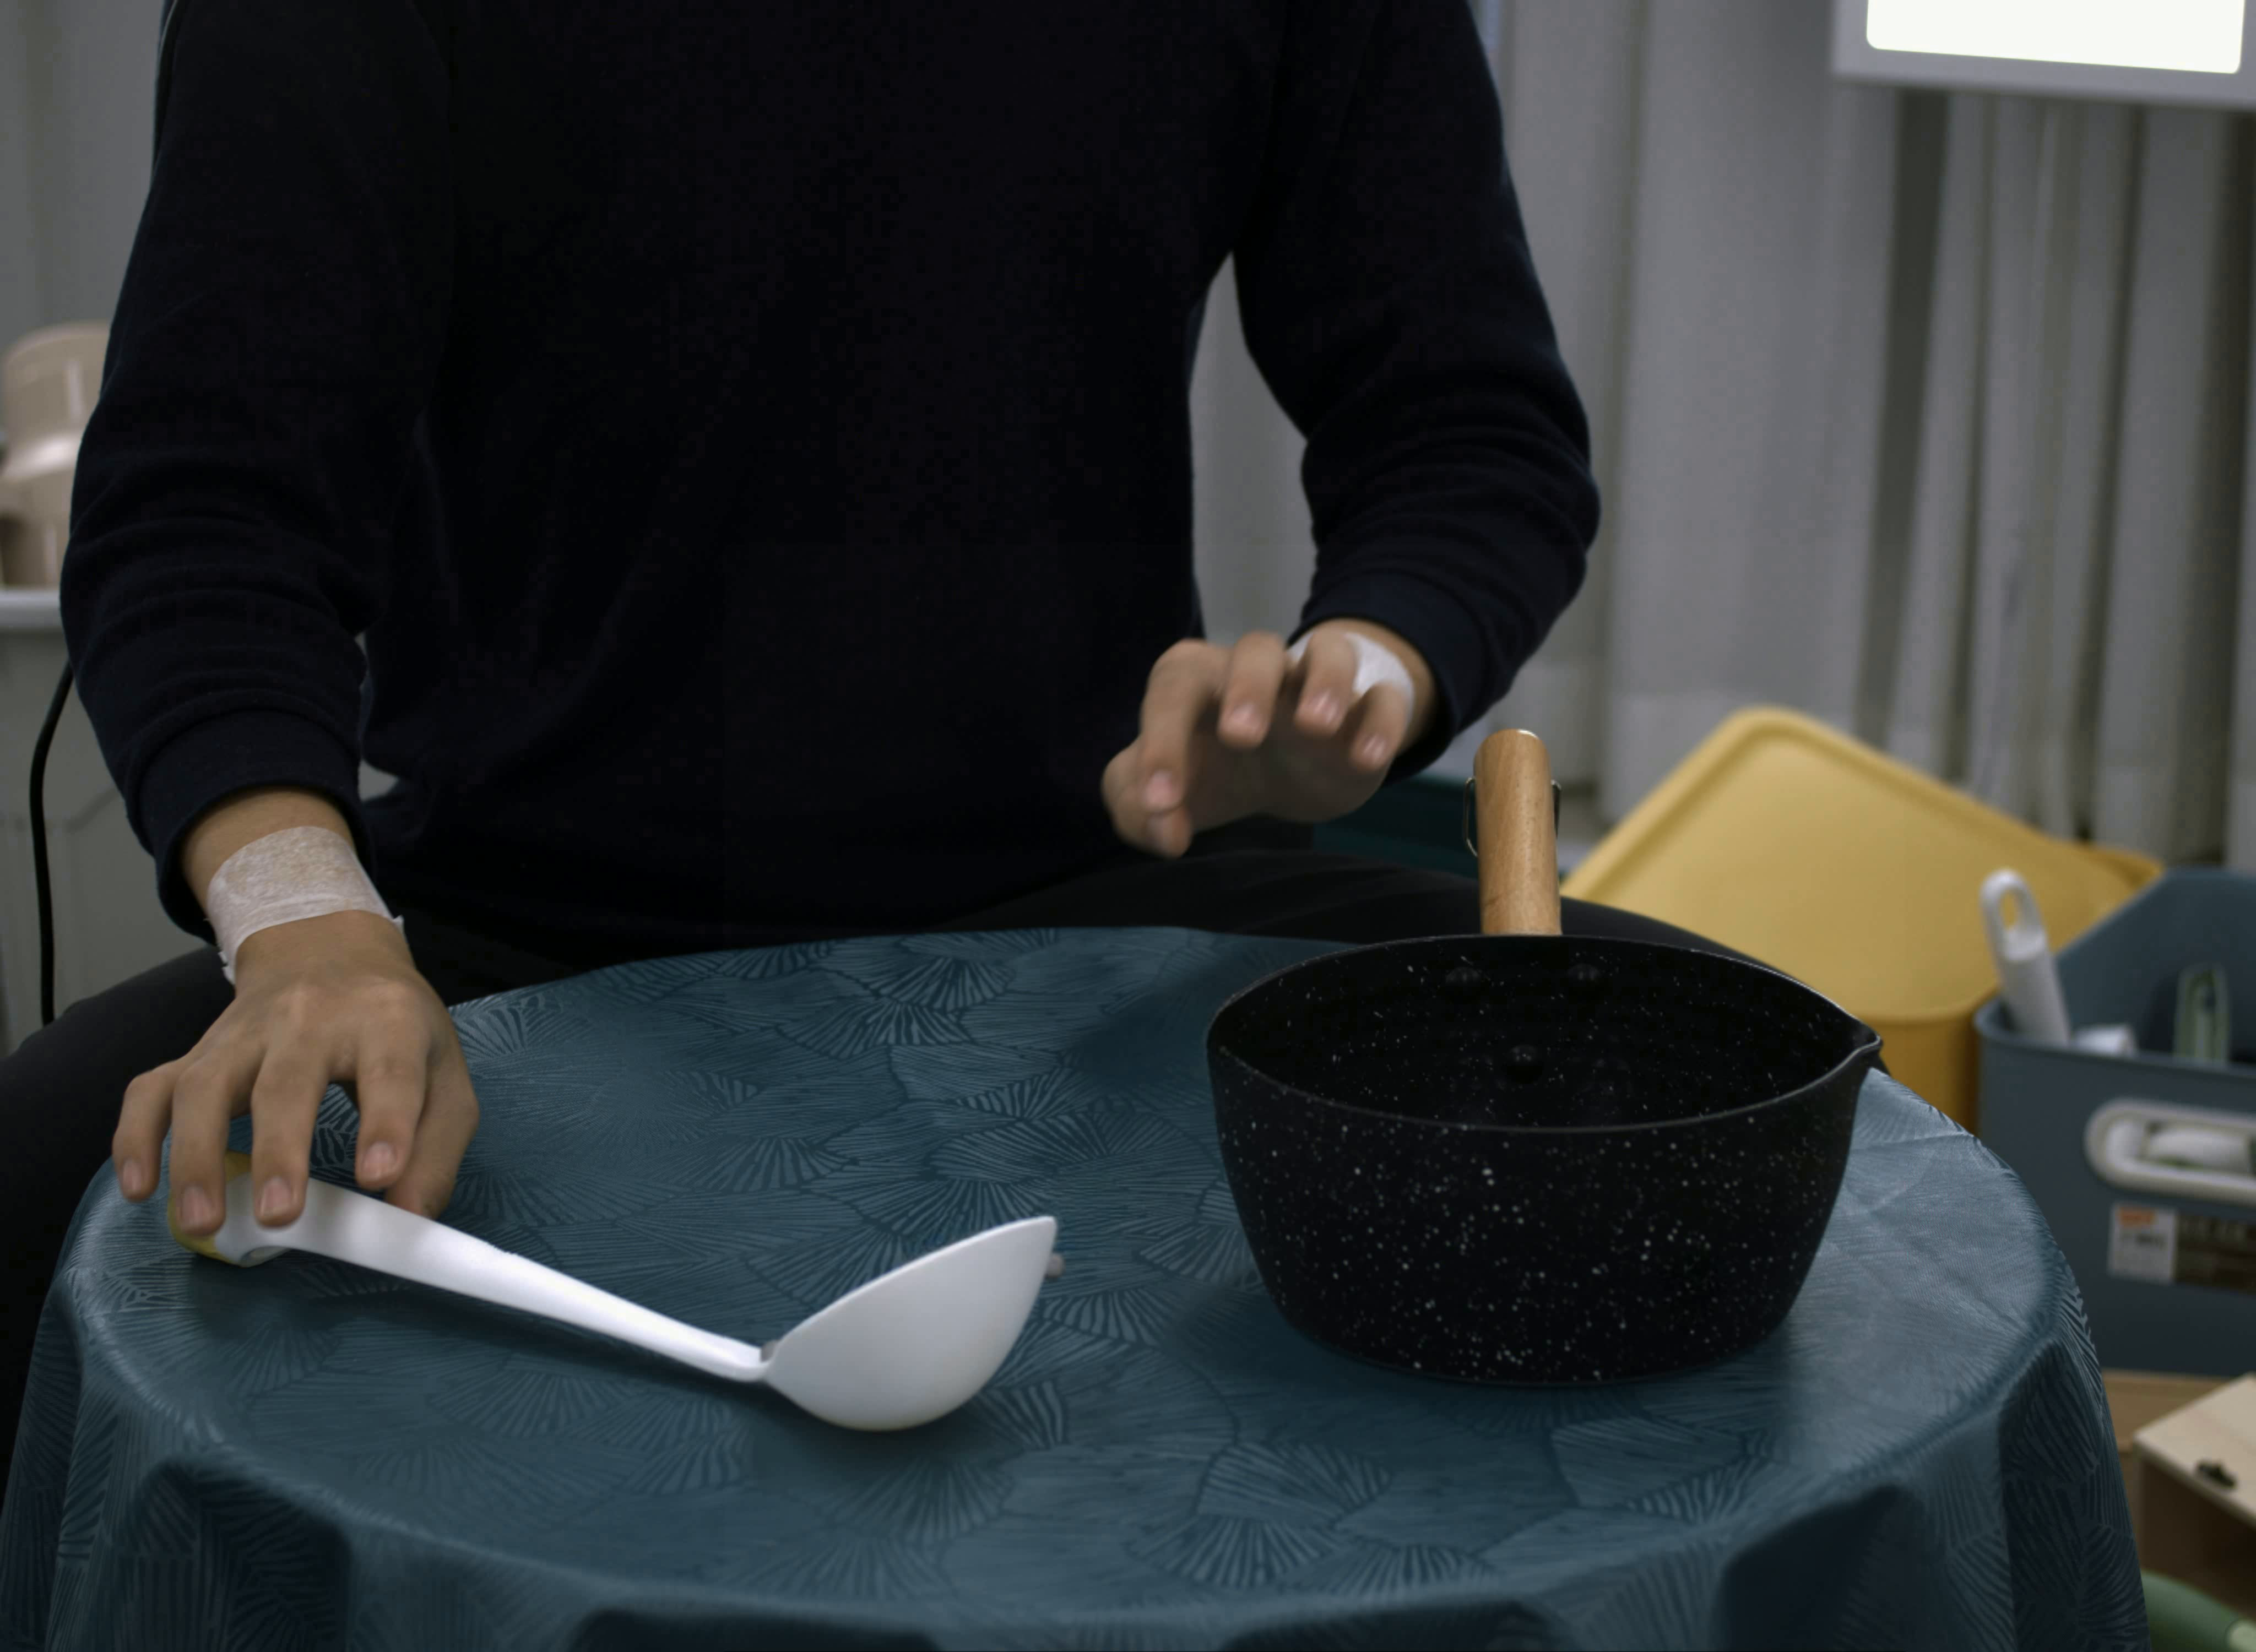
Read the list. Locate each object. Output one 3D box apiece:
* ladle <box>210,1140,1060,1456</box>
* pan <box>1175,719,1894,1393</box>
[{"bbox_3d":[-0.148,0.118,1.484,0.289,0.070,0.090,14,17,35],"label":"ladle"},{"bbox_3d":[0.118,0.064,1.596,0.207,0.109,0.341,0,17,1],"label":"pan"}]
